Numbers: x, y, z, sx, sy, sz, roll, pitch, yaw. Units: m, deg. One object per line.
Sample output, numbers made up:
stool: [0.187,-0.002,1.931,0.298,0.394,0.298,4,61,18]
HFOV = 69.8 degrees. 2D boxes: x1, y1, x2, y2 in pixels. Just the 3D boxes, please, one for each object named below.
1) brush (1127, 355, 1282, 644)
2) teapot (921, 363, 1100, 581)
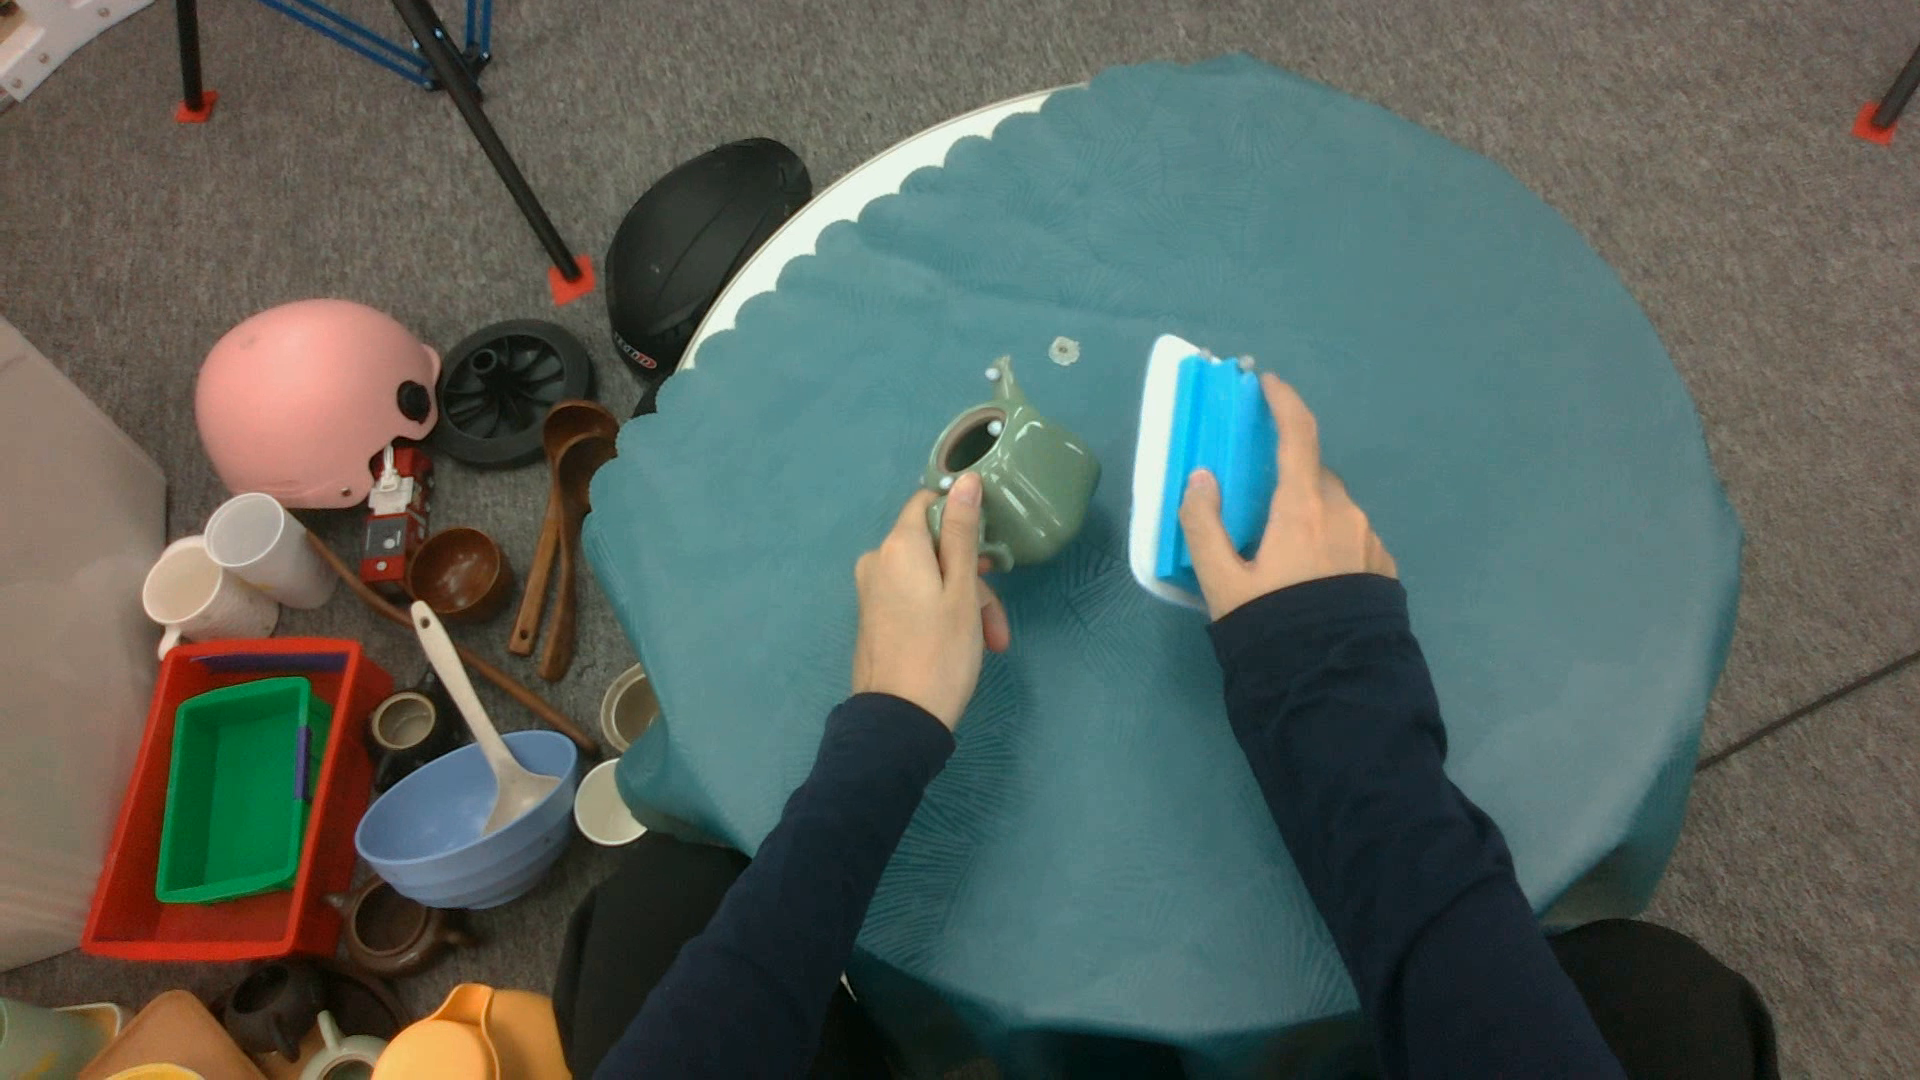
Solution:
brush: [0.131,-0.025,0.683,0.084,0.055,0.144,23,63,-30]
teapot: [0.024,-0.027,0.737,0.079,0.075,0.133,-13,44,42]
